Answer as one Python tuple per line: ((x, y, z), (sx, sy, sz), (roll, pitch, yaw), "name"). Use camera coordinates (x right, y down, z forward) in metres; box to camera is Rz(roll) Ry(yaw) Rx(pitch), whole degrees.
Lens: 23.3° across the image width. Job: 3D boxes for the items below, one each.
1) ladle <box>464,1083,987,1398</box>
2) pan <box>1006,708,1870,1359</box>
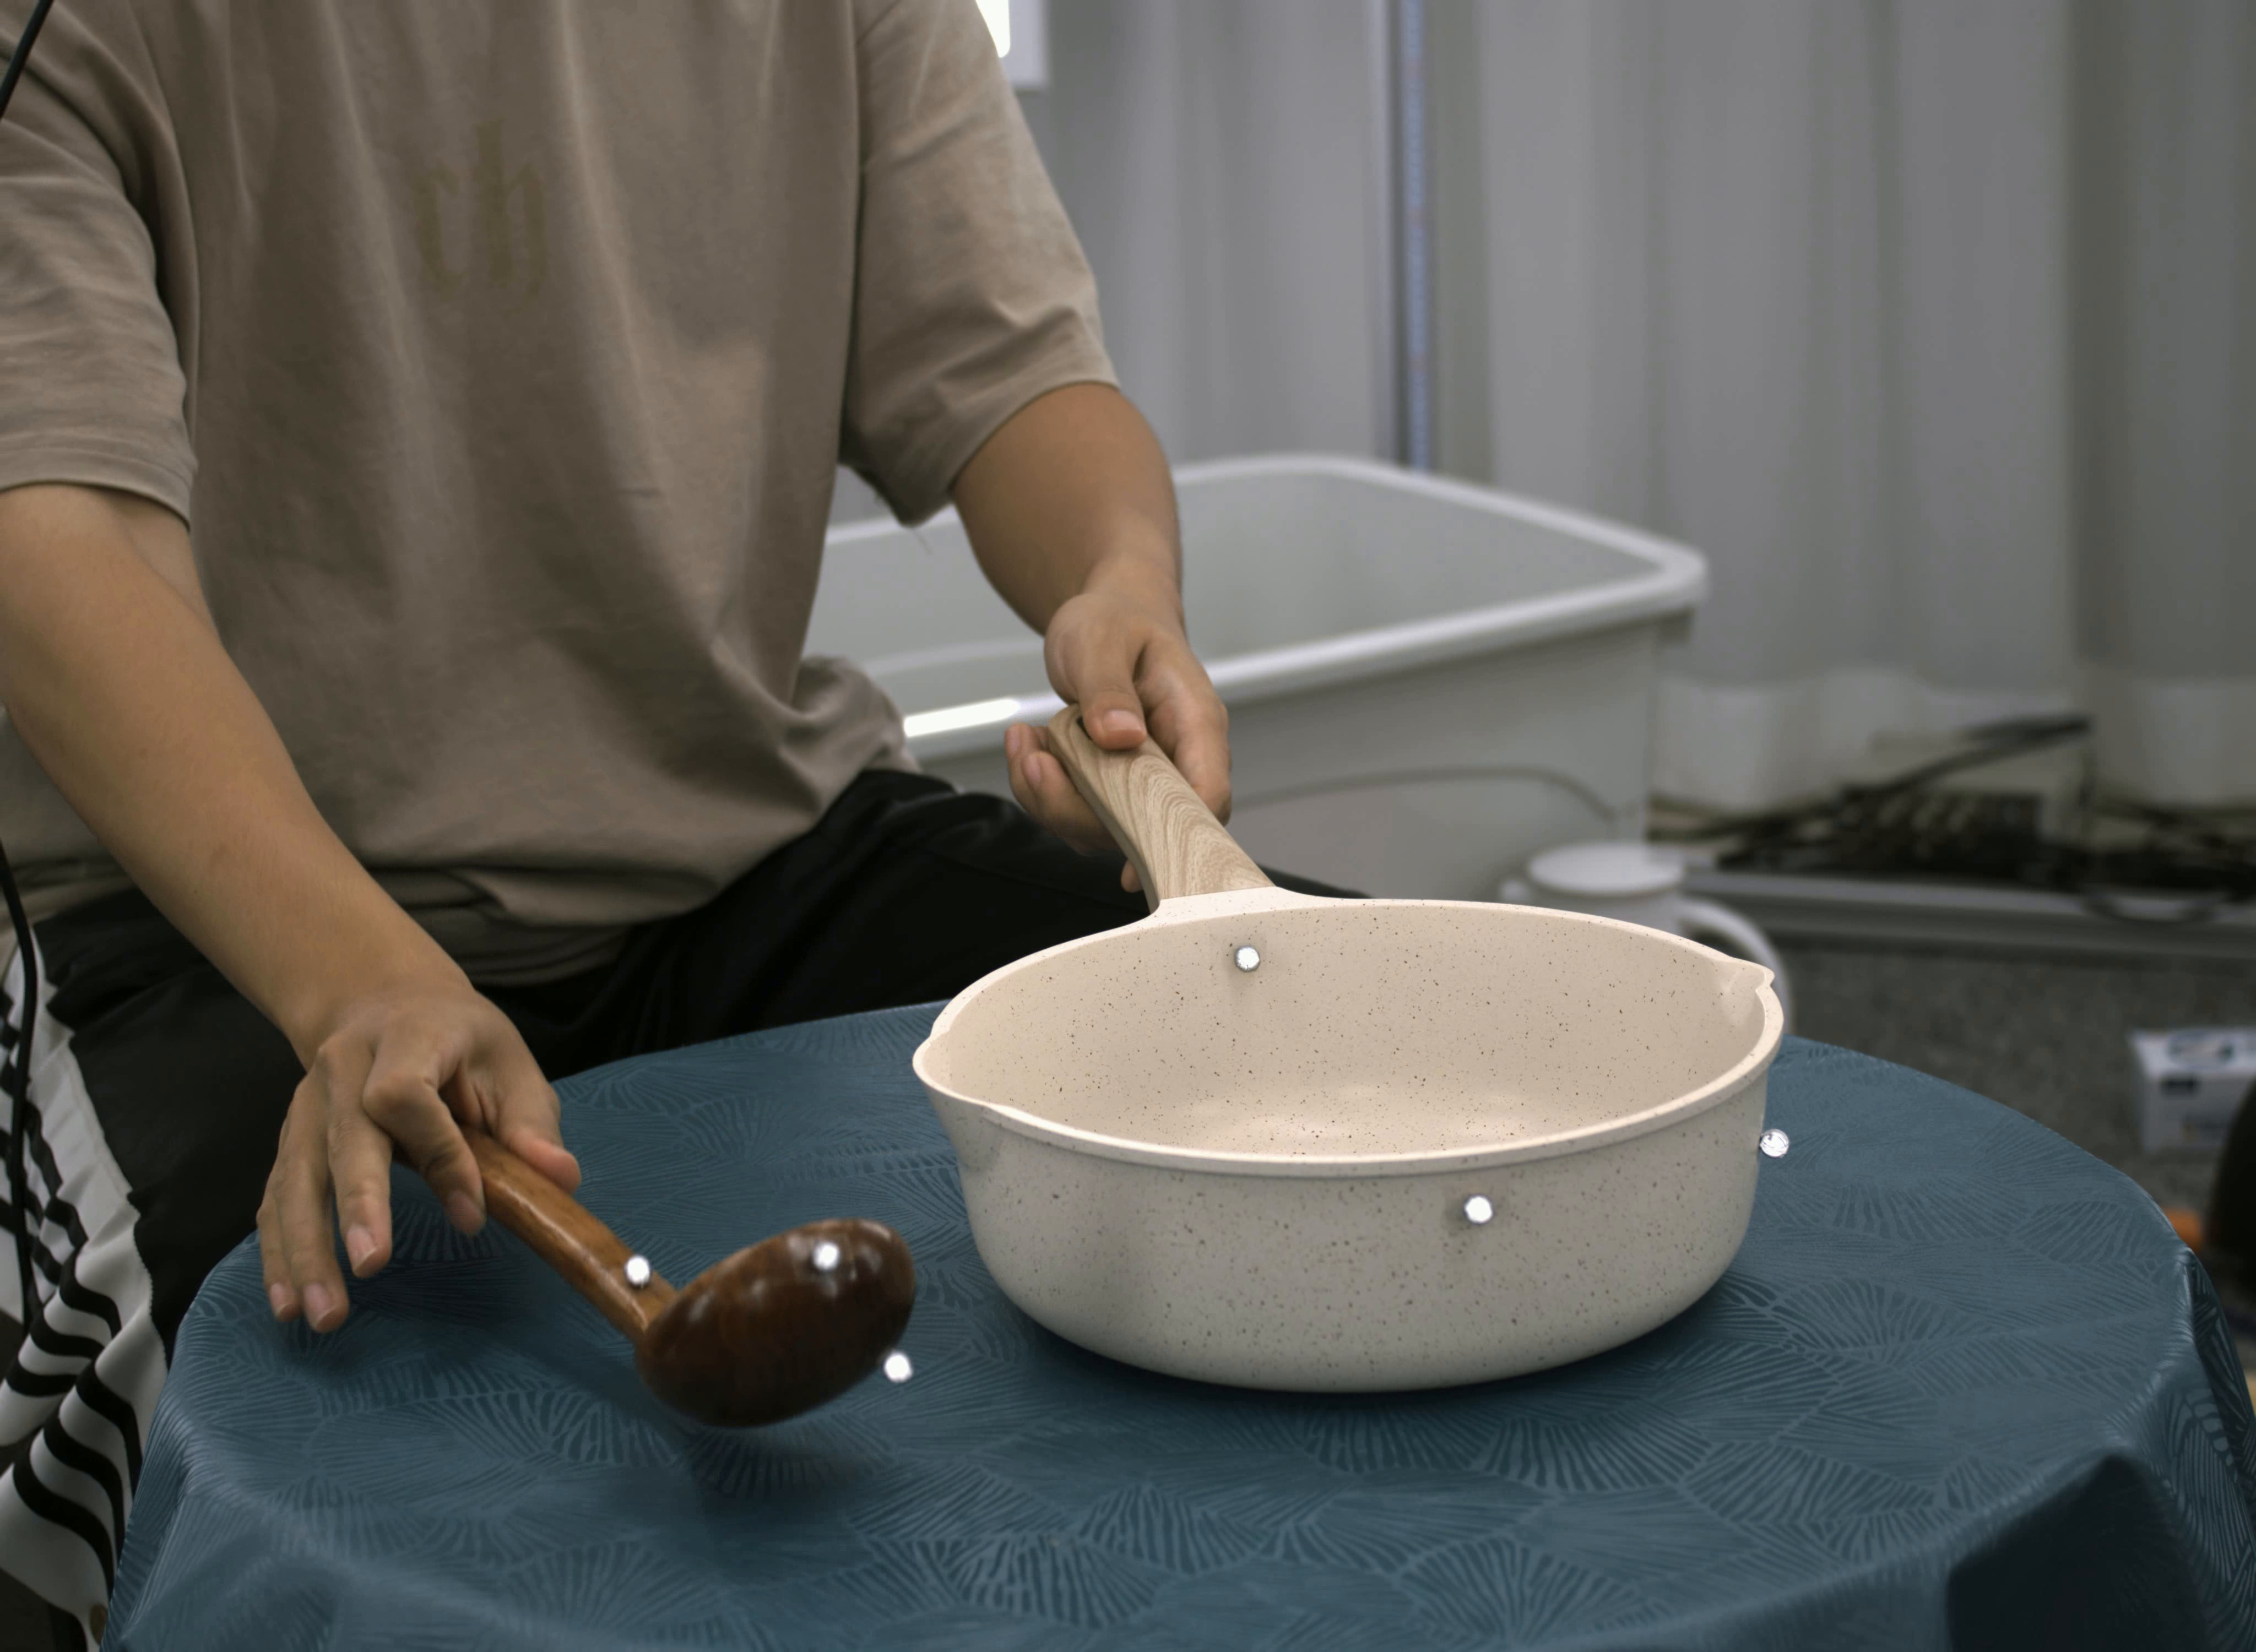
((-0.130, 0.095, 1.564), (0.081, 0.076, 0.277), (-6, 21, -29), "ladle")
((0.069, 0.058, 1.704), (0.262, 0.101, 0.438), (-8, 15, -14), "pan")
